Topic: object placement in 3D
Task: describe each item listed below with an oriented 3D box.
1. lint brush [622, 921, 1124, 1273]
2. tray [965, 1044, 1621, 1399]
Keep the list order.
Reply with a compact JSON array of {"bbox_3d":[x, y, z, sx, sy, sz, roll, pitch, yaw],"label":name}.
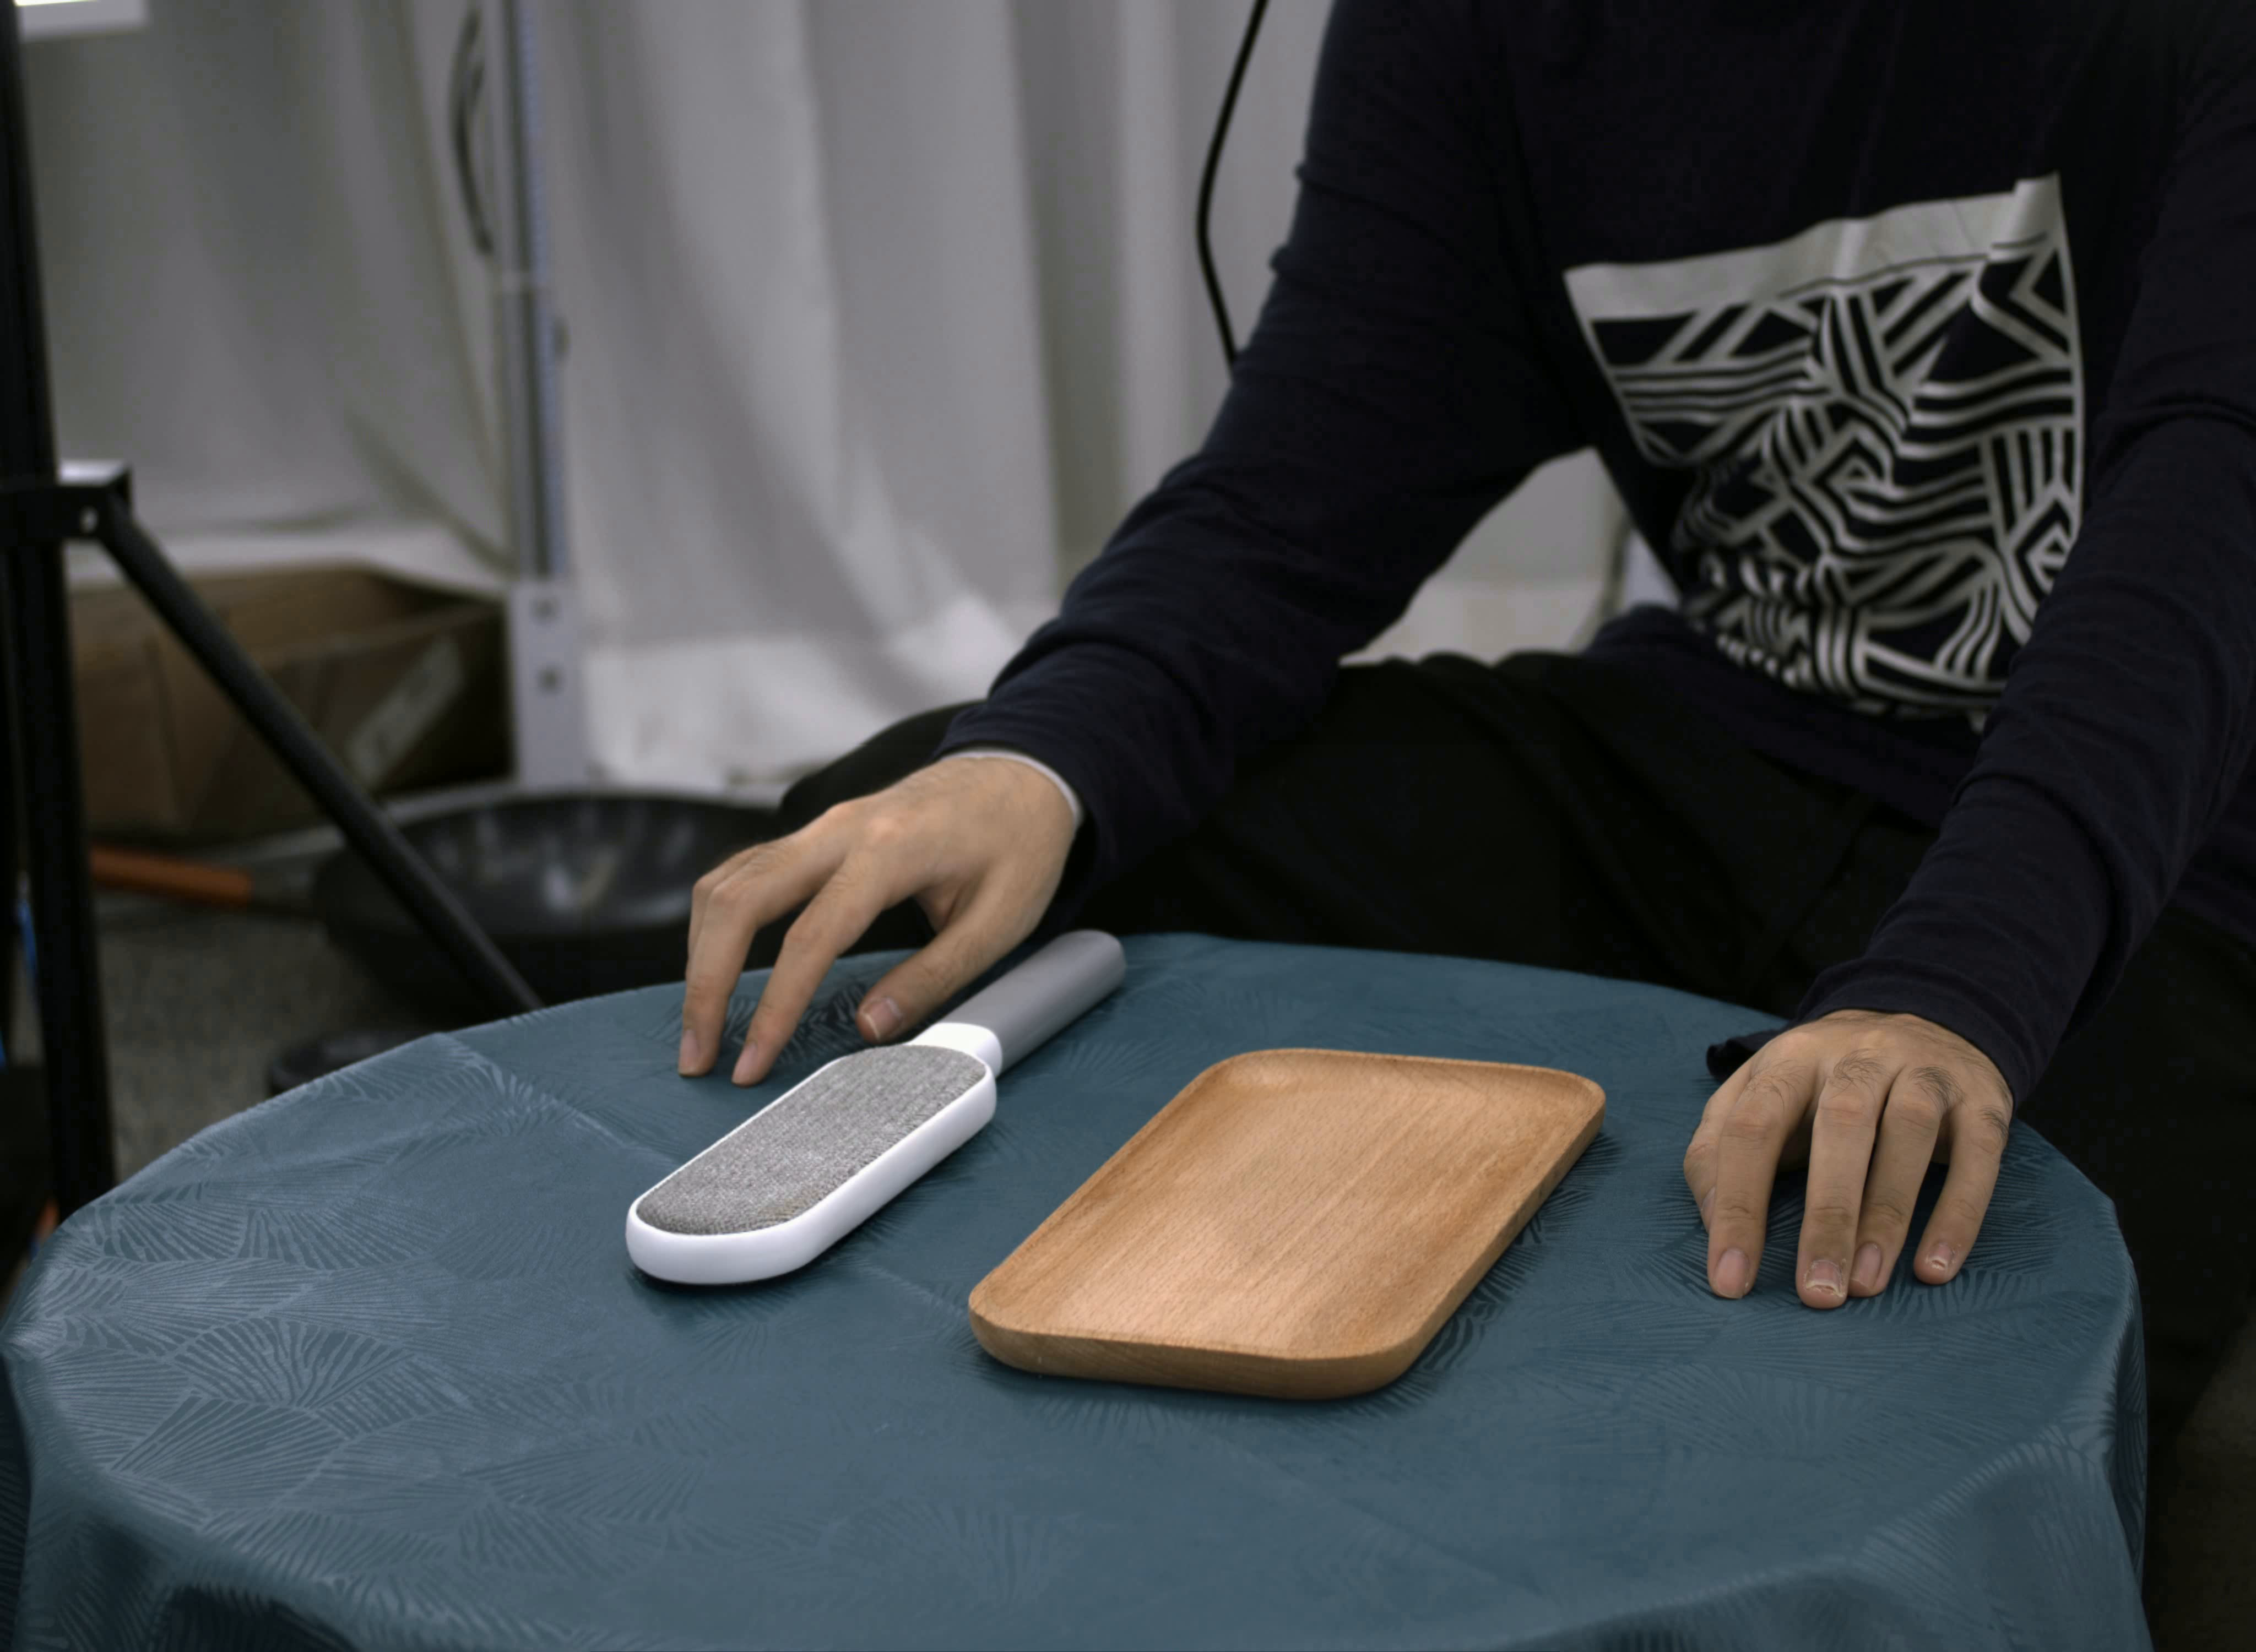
[{"bbox_3d":[-0.067,0.079,1.624,0.061,0.021,0.304,-1,15,24],"label":"lint brush"},{"bbox_3d":[0.052,0.110,1.515,0.132,0.023,0.247,6,17,22],"label":"tray"}]
